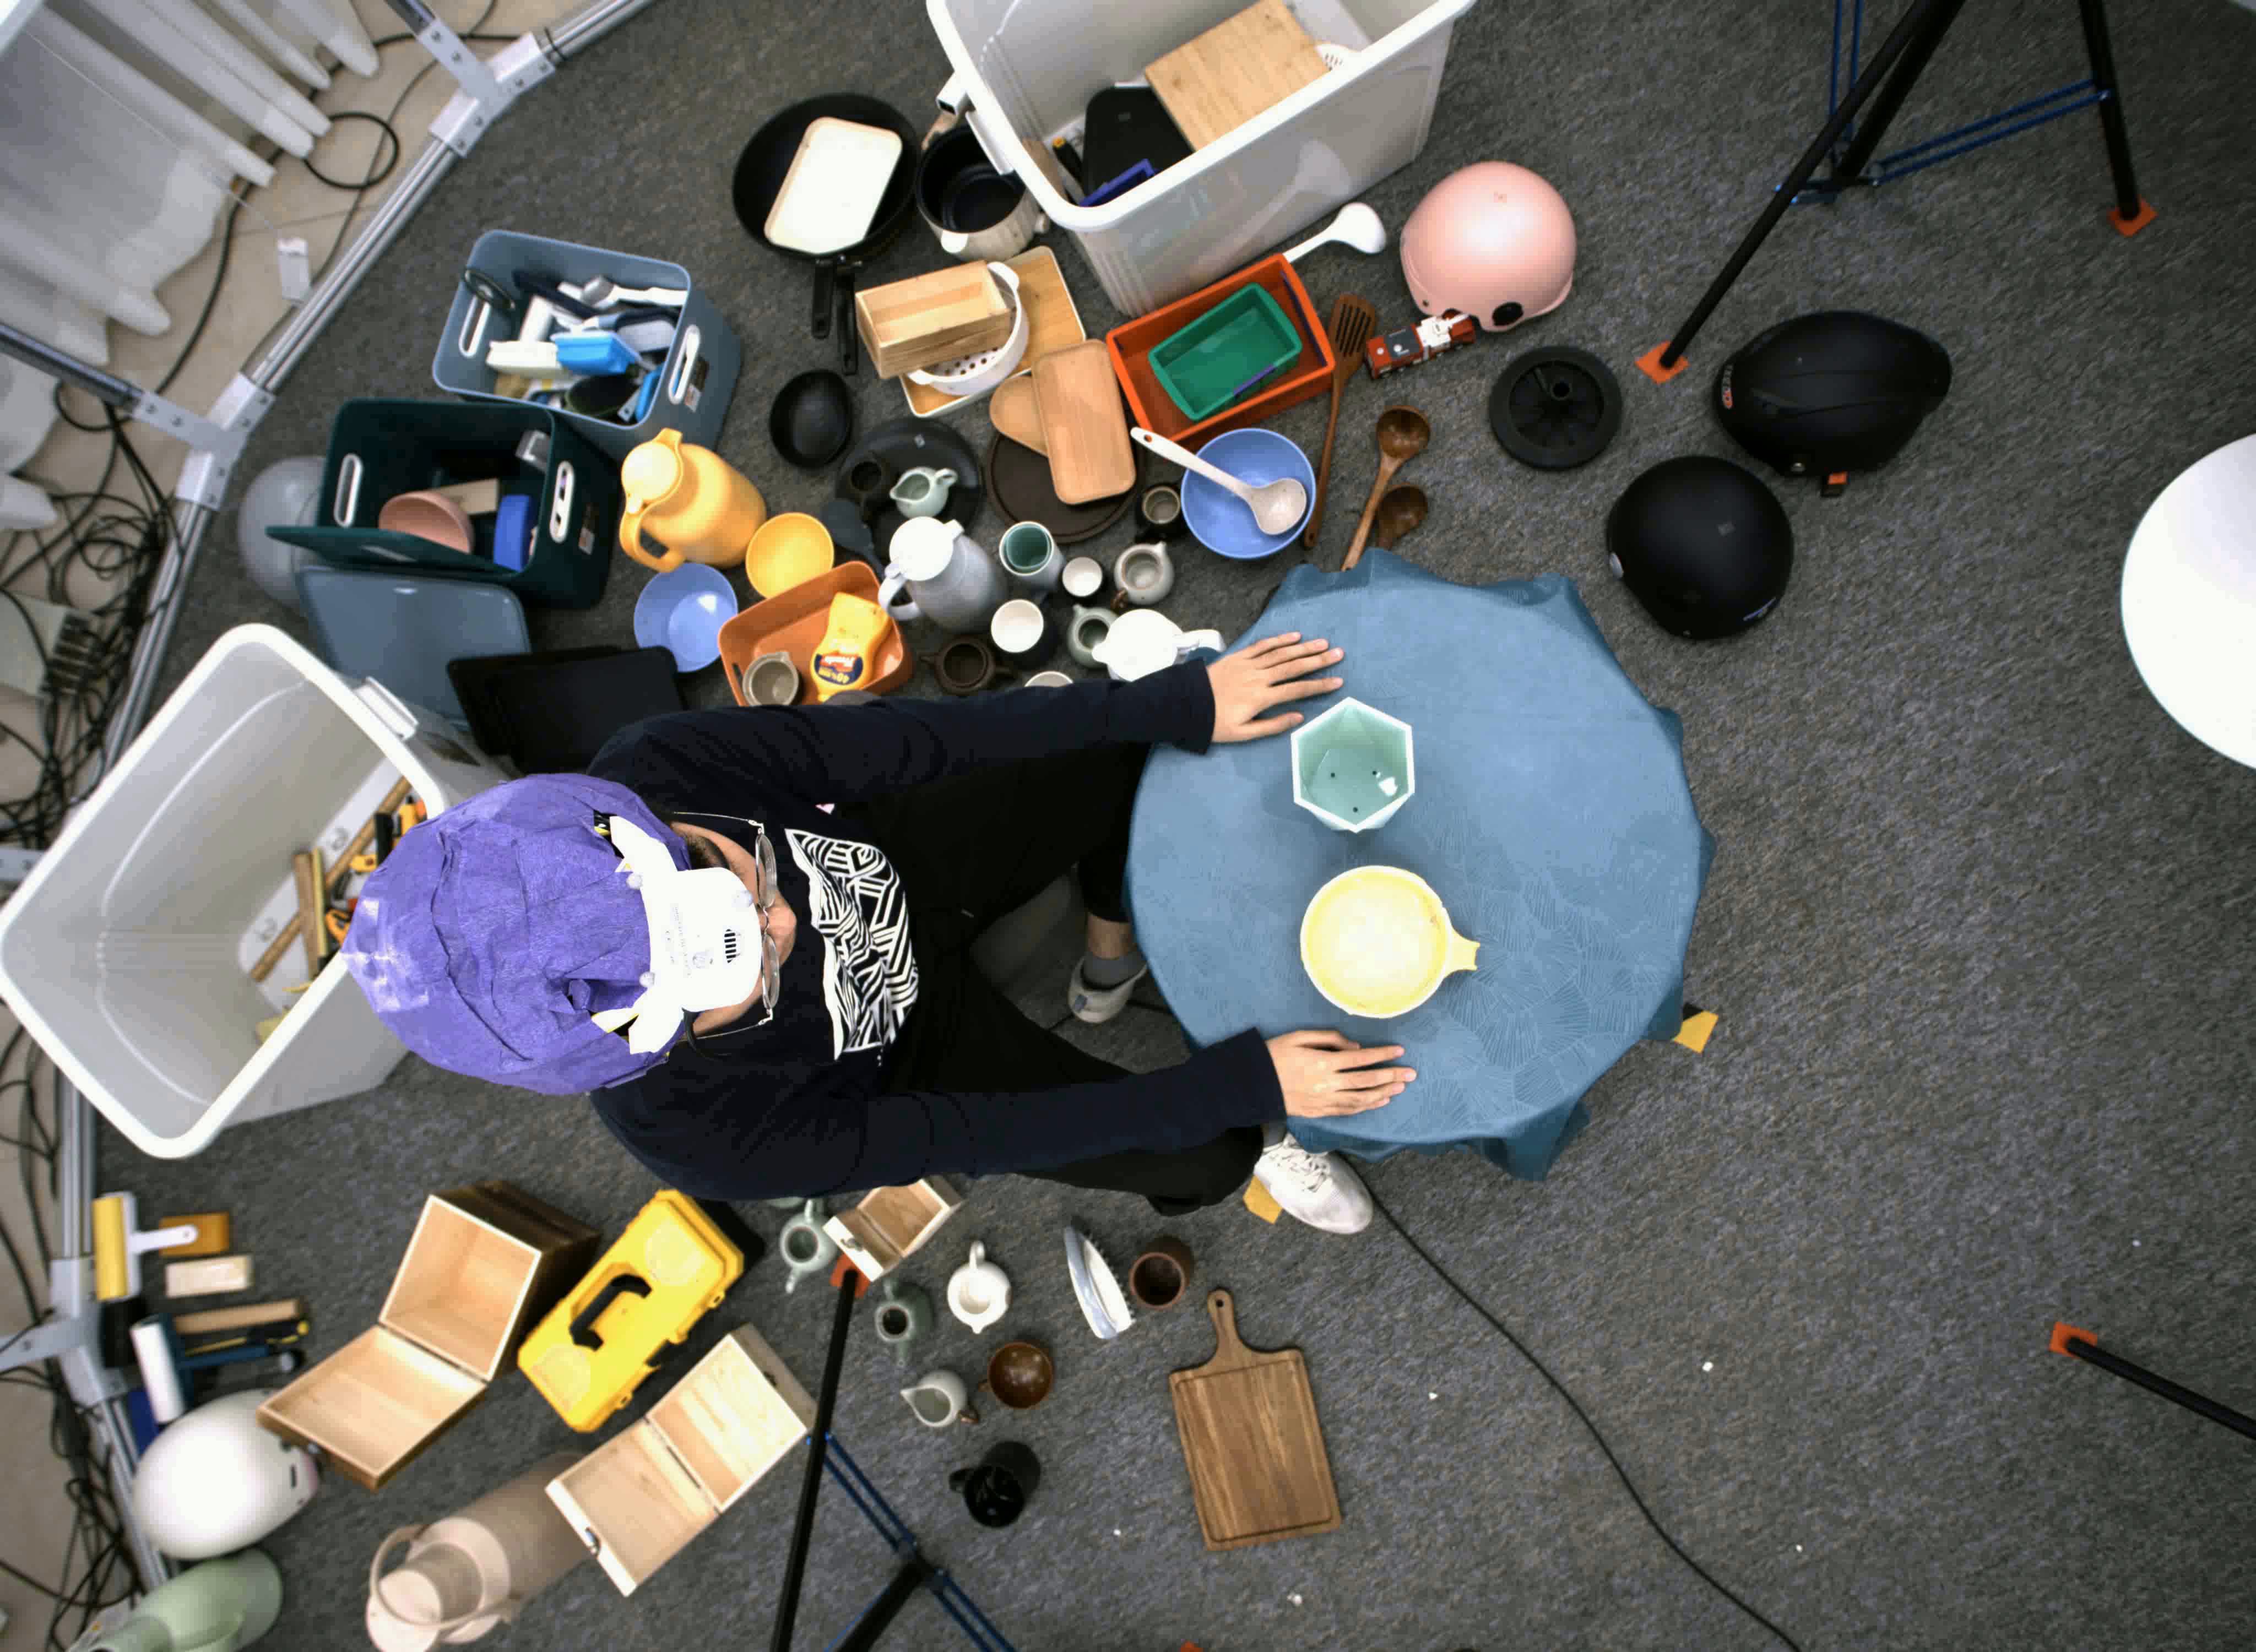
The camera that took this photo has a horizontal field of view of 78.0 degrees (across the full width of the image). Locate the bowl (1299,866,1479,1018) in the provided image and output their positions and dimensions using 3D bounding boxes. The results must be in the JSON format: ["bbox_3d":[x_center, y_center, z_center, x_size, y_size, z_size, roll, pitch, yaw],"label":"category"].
[{"bbox_3d":[0.269,0.120,1.423,0.180,0.074,0.152,4,87,13],"label":"bowl"}]

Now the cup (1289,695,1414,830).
[{"bbox_3d":[0.228,-0.054,1.390,0.116,0.163,0.130,-5,84,11],"label":"cup"}]
